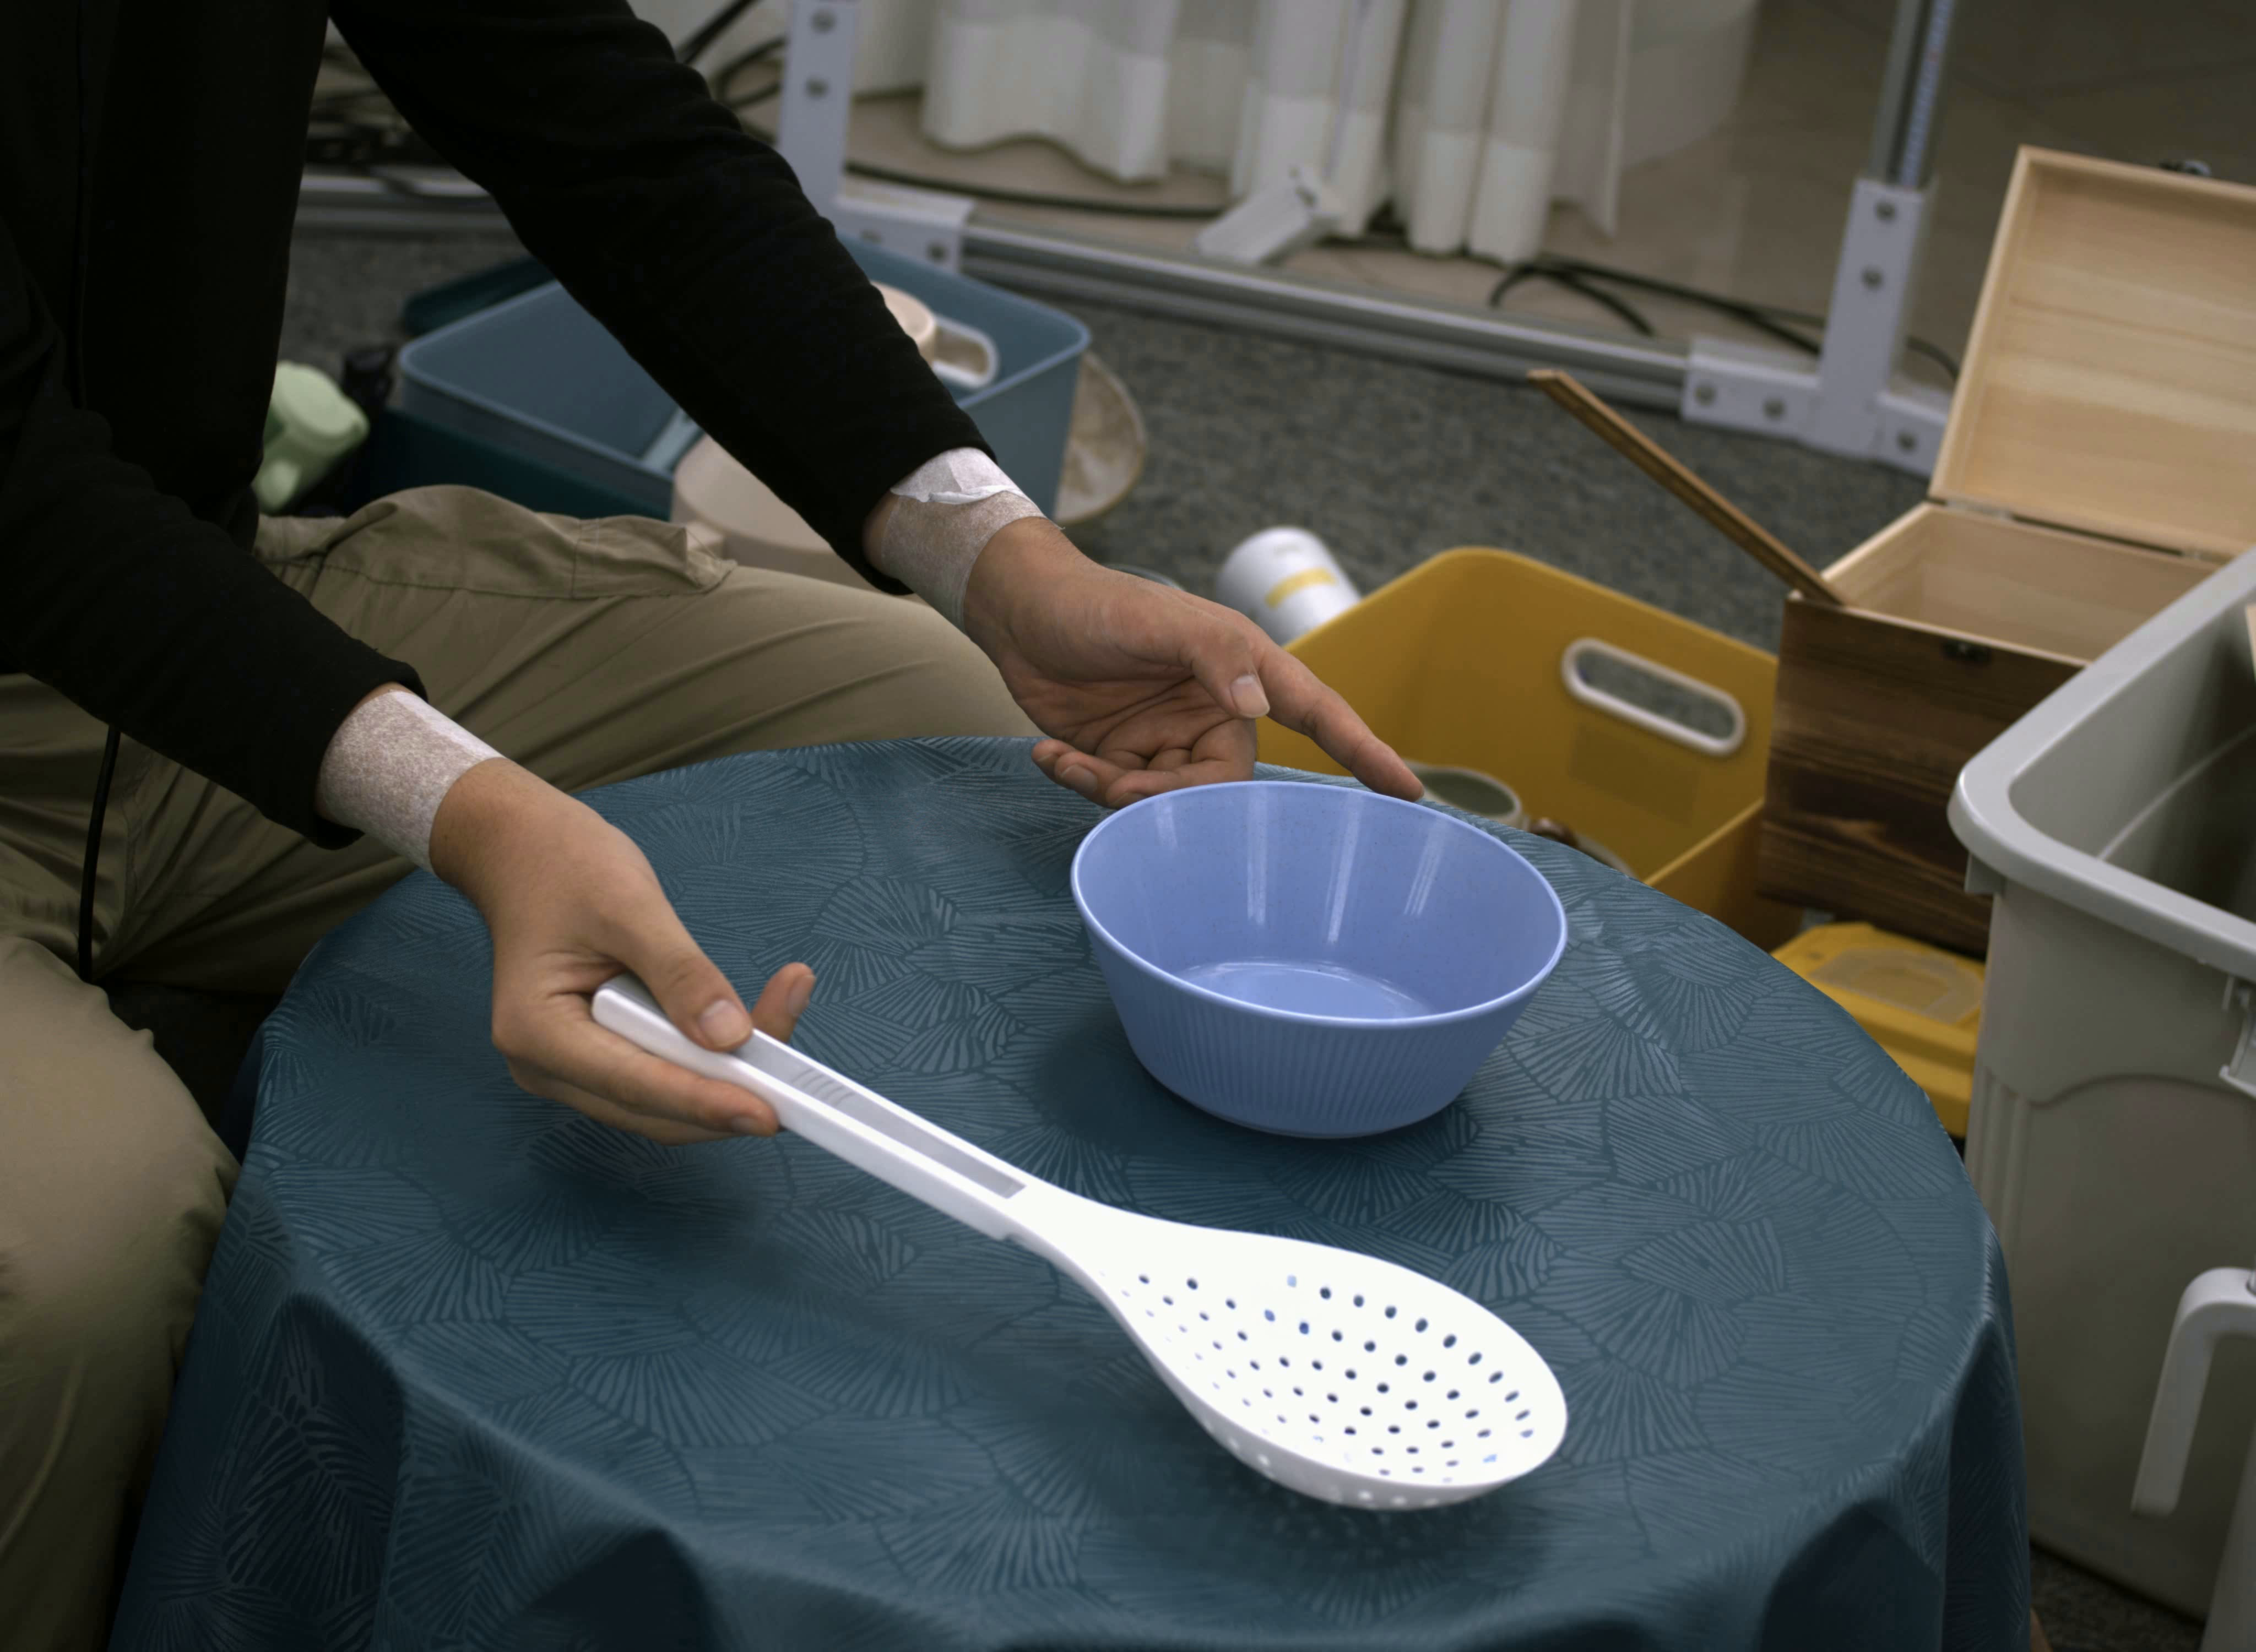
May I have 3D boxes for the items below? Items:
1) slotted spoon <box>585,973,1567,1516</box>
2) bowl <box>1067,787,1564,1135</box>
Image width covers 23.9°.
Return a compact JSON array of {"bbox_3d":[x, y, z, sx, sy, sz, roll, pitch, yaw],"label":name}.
[{"bbox_3d":[-0.024,0.128,1.683,0.351,0.045,0.136,30,29,17],"label":"slotted spoon"},{"bbox_3d":[0.063,0.053,1.878,0.175,0.070,0.177,4,26,-3],"label":"bowl"}]
